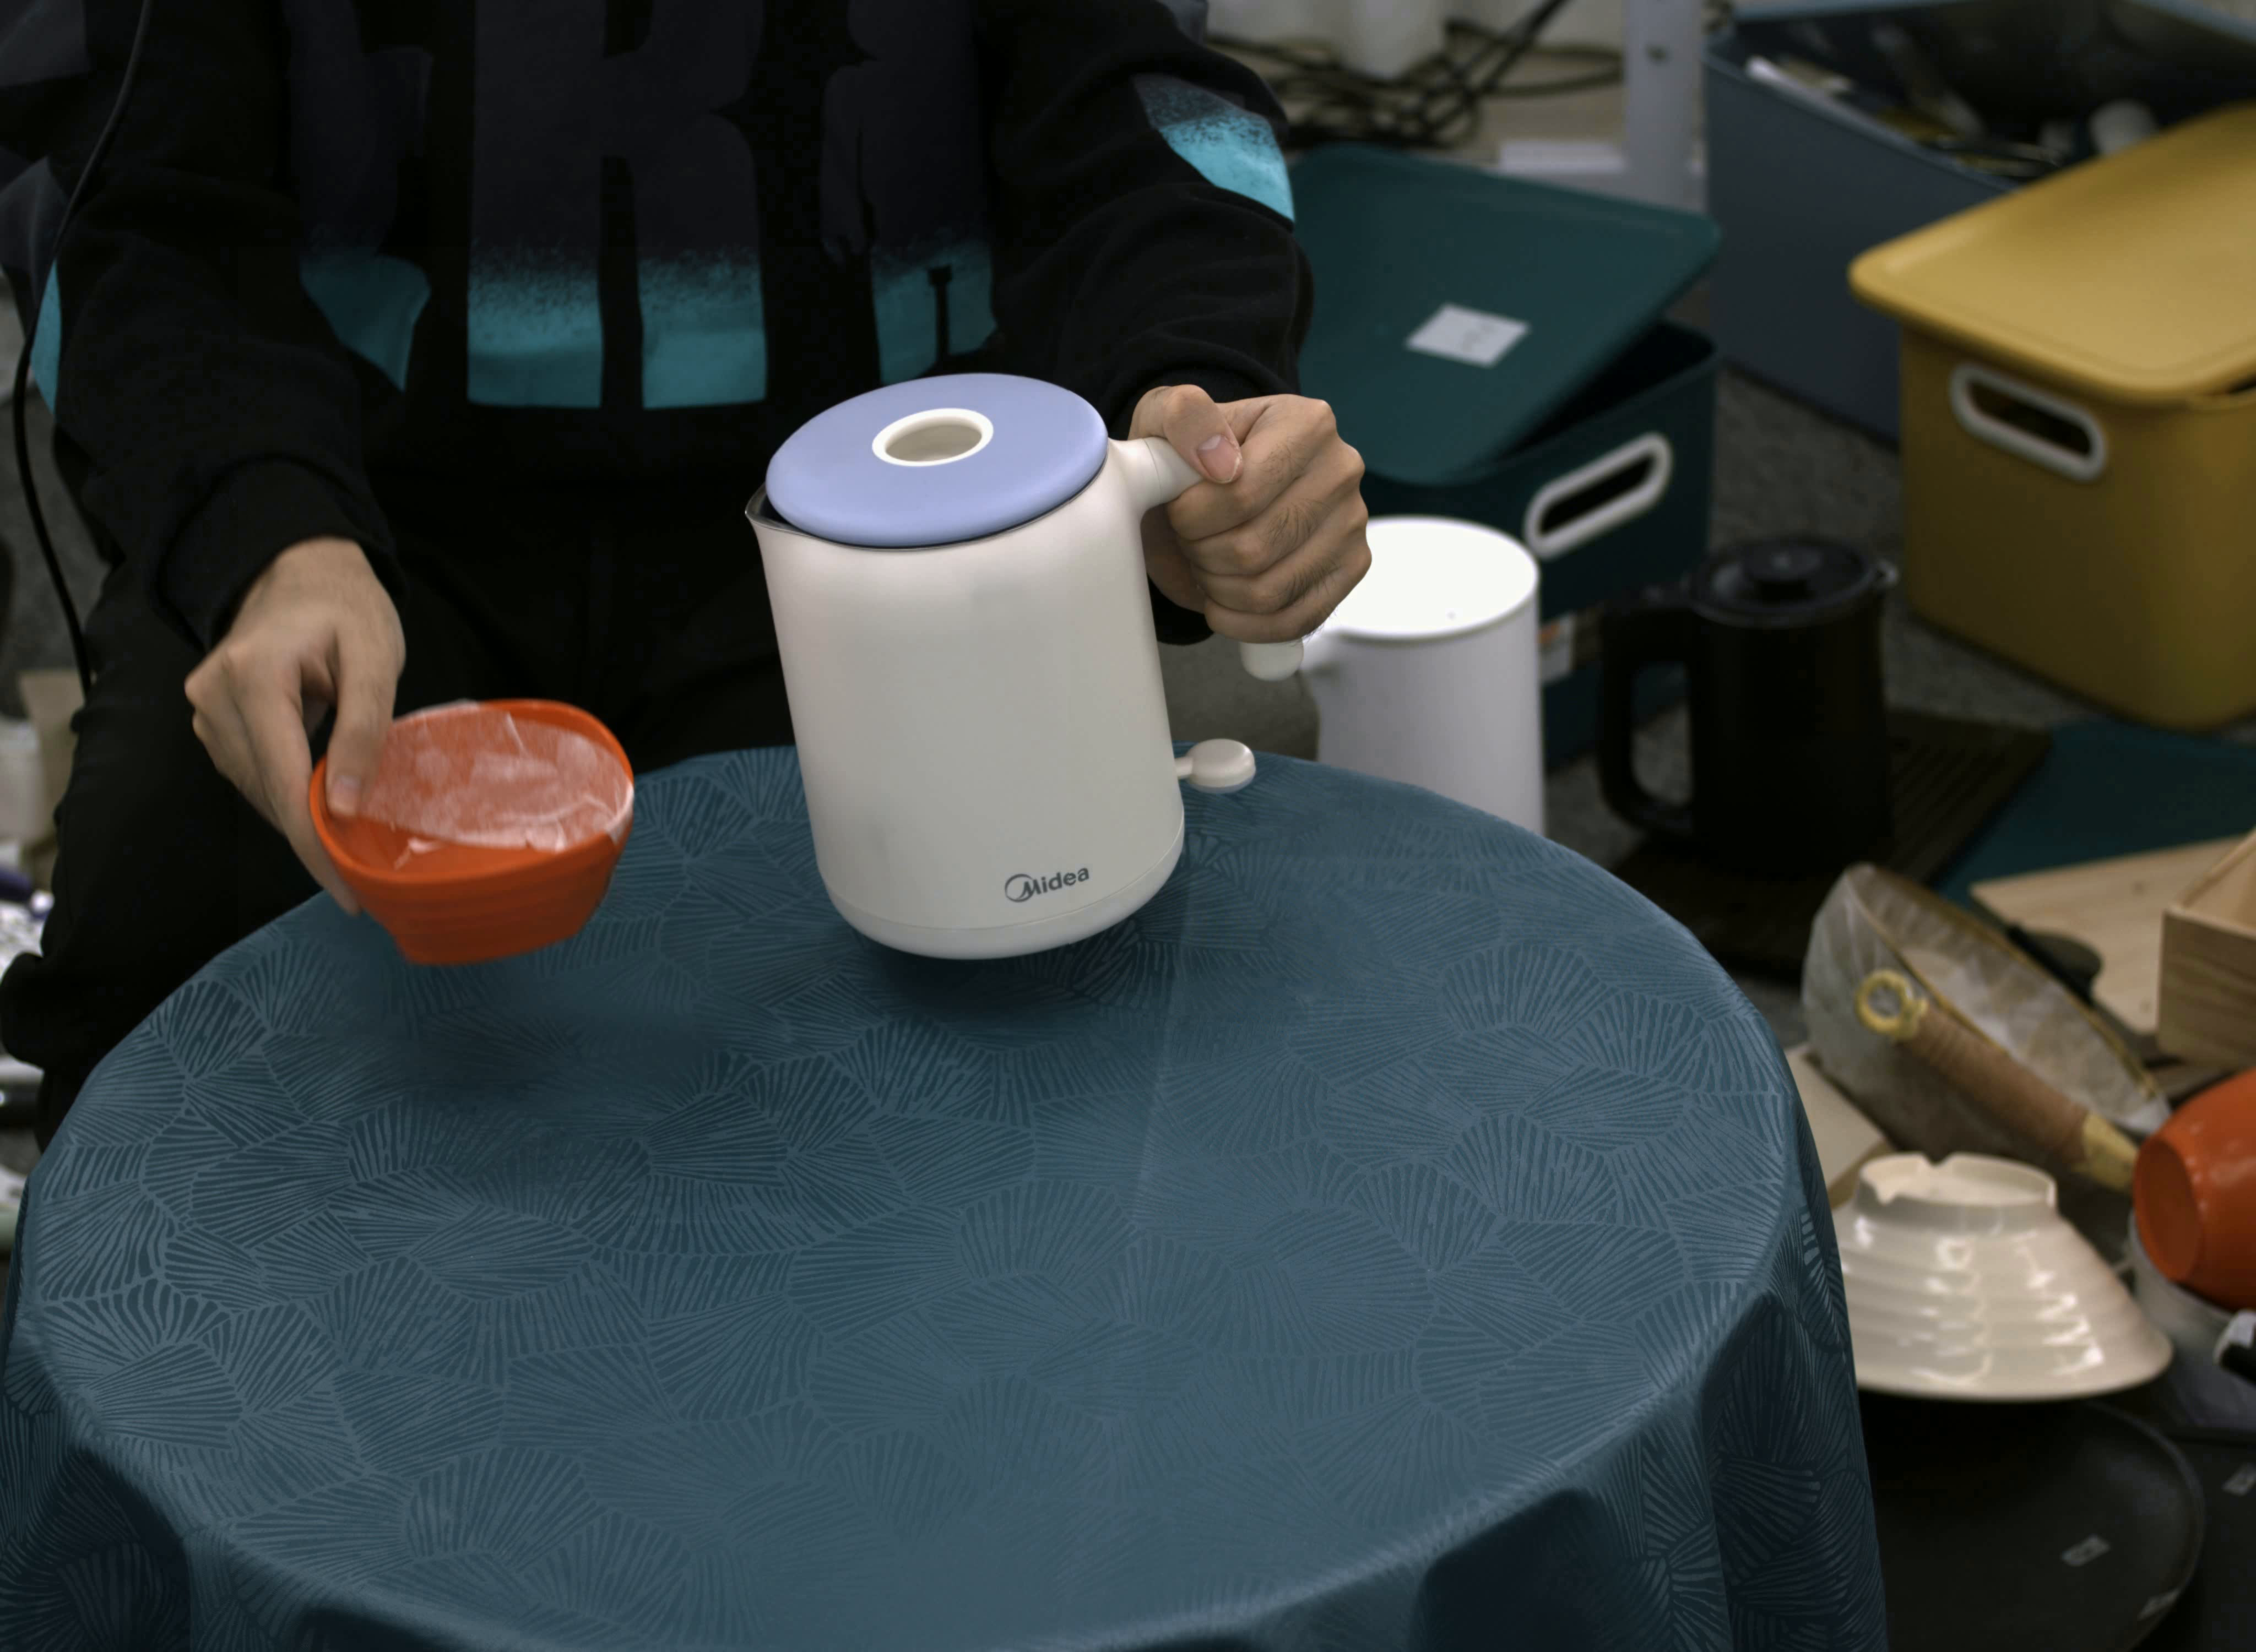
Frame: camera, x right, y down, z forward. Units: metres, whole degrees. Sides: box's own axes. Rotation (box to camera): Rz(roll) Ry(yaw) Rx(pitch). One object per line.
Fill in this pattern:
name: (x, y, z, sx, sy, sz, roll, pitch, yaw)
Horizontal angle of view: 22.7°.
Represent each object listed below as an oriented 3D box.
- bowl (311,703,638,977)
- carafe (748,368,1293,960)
bowl: (-0.222, 0.010, 1.930, 0.118, 0.050, 0.121, -3, 34, 2)
carafe: (-0.032, -0.063, 1.967, 0.191, 0.180, 0.133, -14, 31, -15)
